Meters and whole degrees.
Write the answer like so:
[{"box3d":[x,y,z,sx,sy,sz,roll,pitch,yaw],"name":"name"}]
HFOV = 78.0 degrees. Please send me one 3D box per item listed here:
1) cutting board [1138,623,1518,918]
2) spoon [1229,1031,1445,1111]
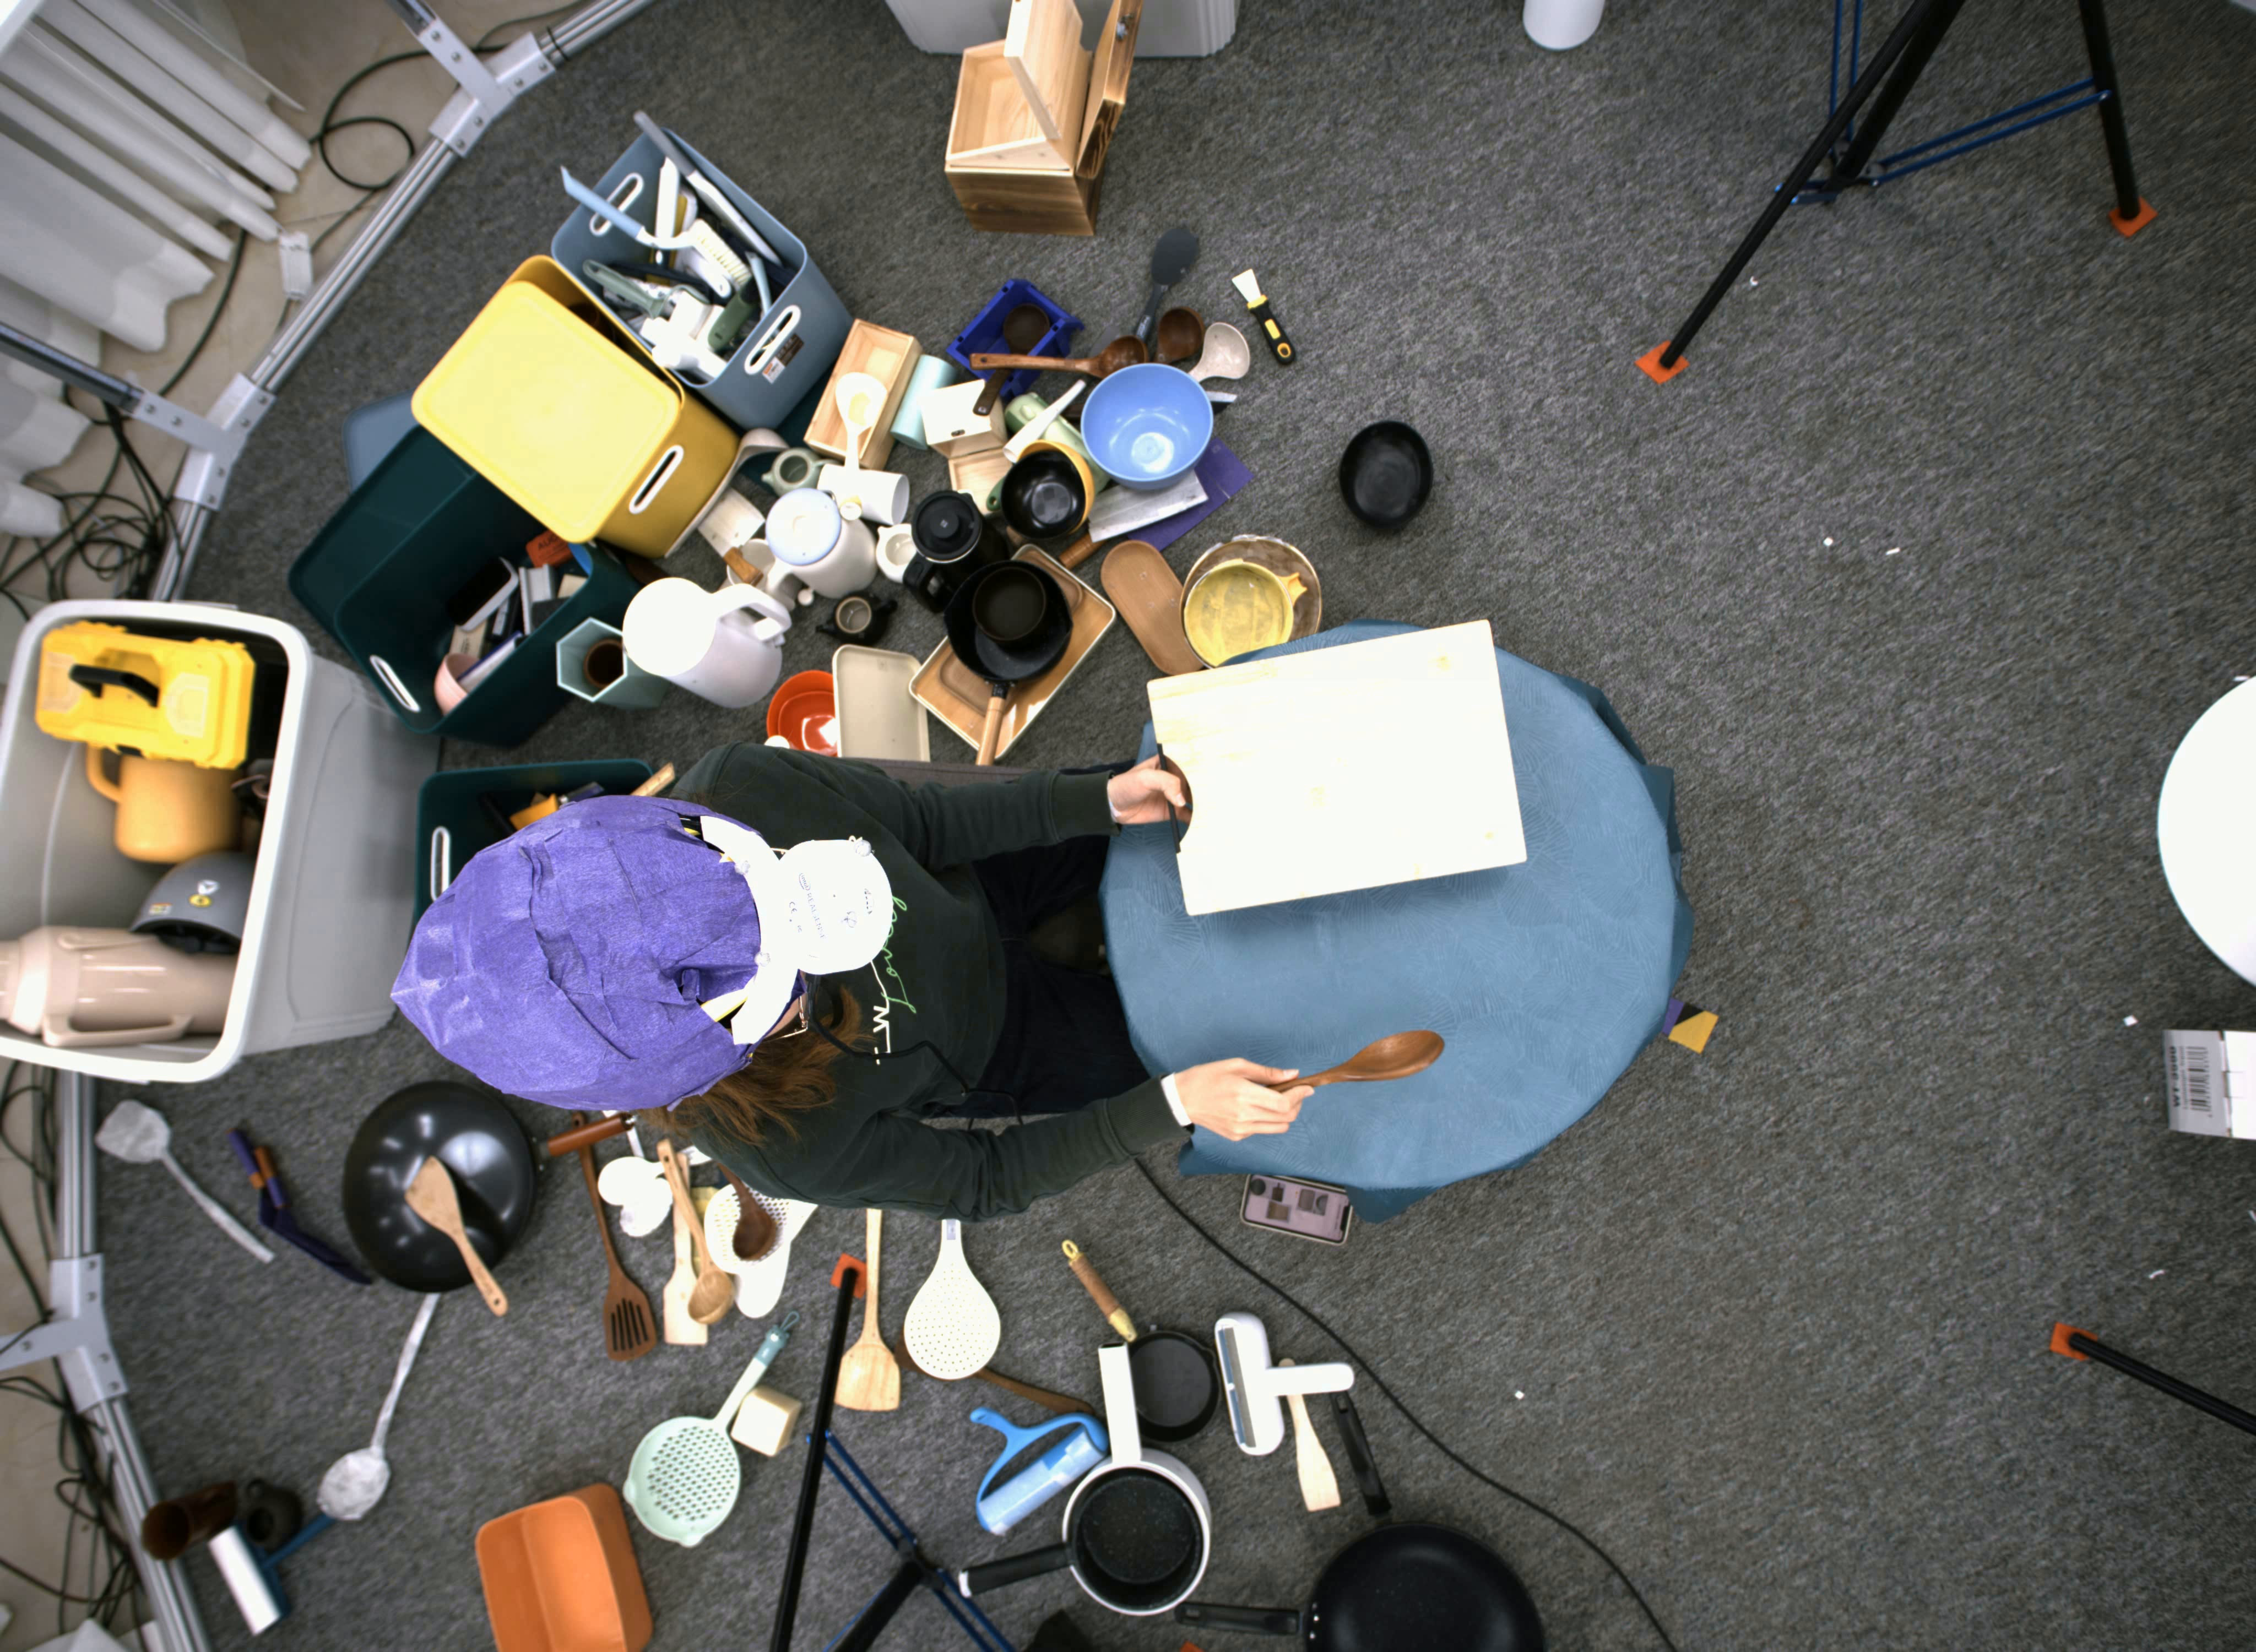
[{"box3d":[0.201,-0.054,1.373,0.350,0.023,0.251,-11,95,8],"name":"cutting board"},{"box3d":[0.201,0.239,1.335,0.217,0.074,0.017,-17,106,10],"name":"spoon"}]
